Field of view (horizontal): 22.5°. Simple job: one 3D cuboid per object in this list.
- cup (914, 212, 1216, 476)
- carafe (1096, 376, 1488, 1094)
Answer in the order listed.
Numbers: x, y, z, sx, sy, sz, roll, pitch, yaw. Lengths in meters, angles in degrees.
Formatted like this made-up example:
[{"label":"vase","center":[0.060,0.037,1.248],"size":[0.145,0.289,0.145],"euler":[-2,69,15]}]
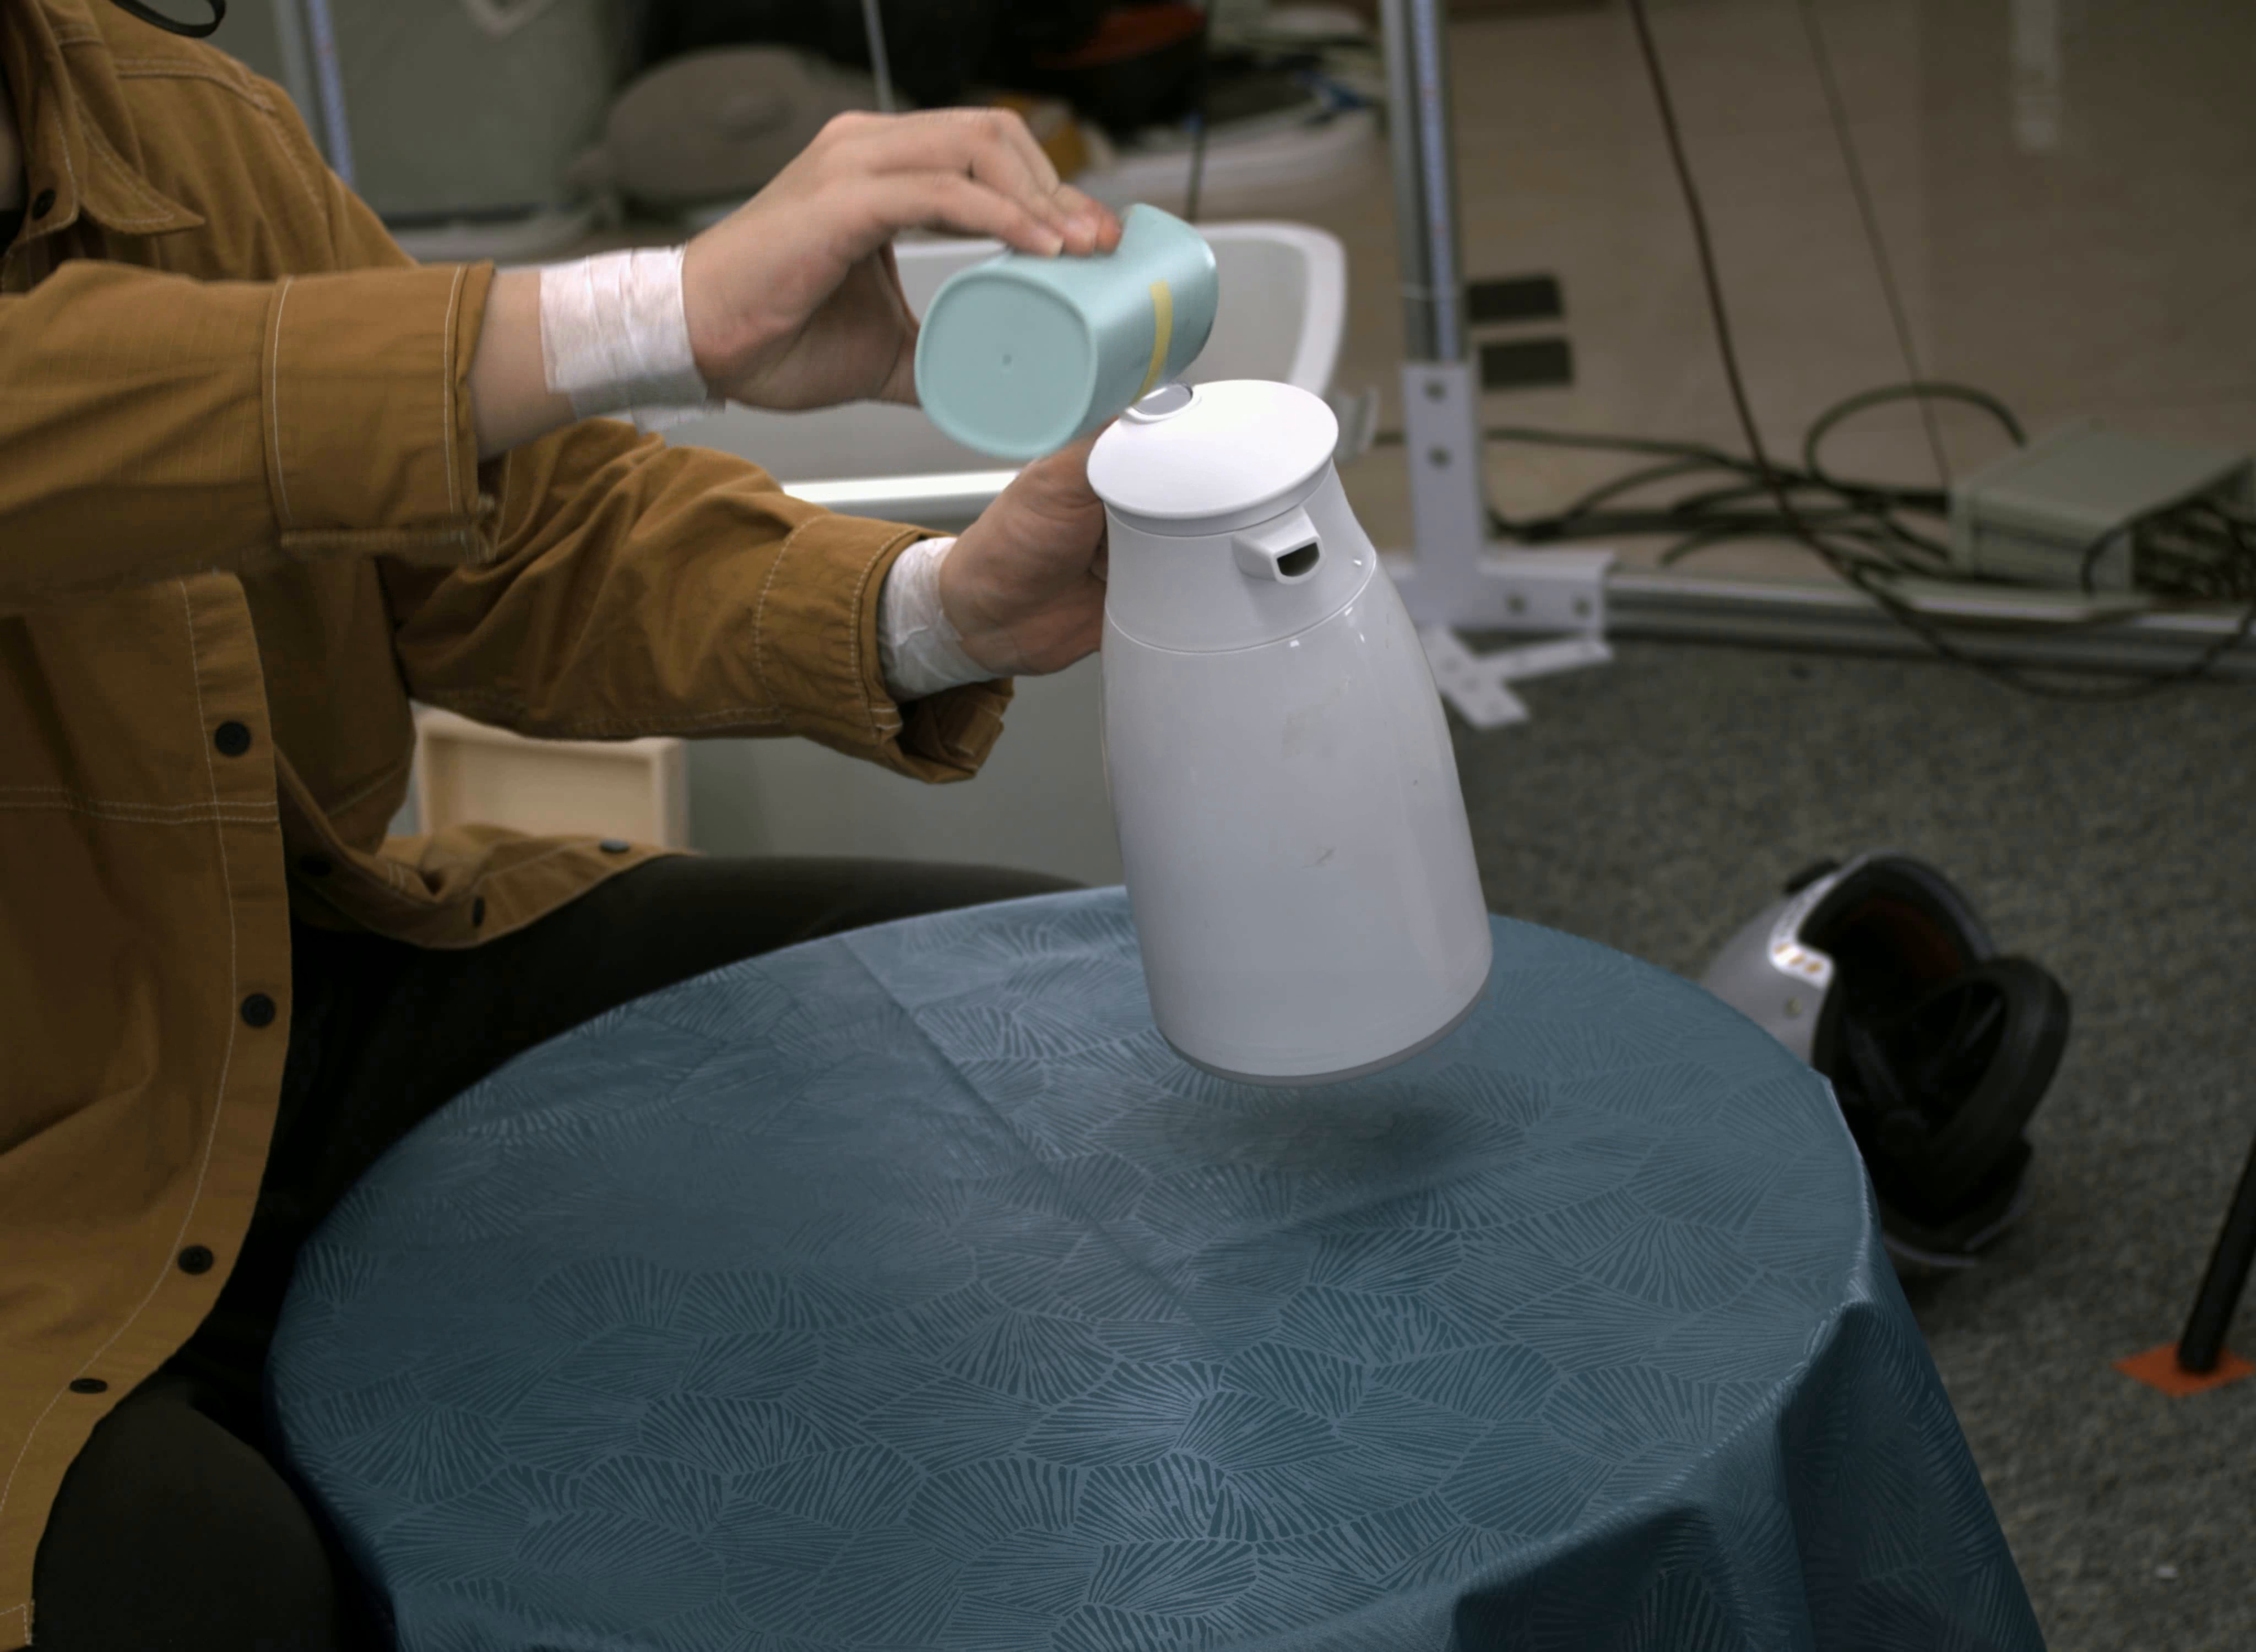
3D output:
[{"label":"cup","center":[-0.021,-0.159,1.852],"size":[0.066,0.067,0.131],"euler":[3,17,18]},{"label":"carafe","center":[0.043,-0.047,2.095],"size":[0.132,0.253,0.165],"euler":[-23,35,-16]}]
